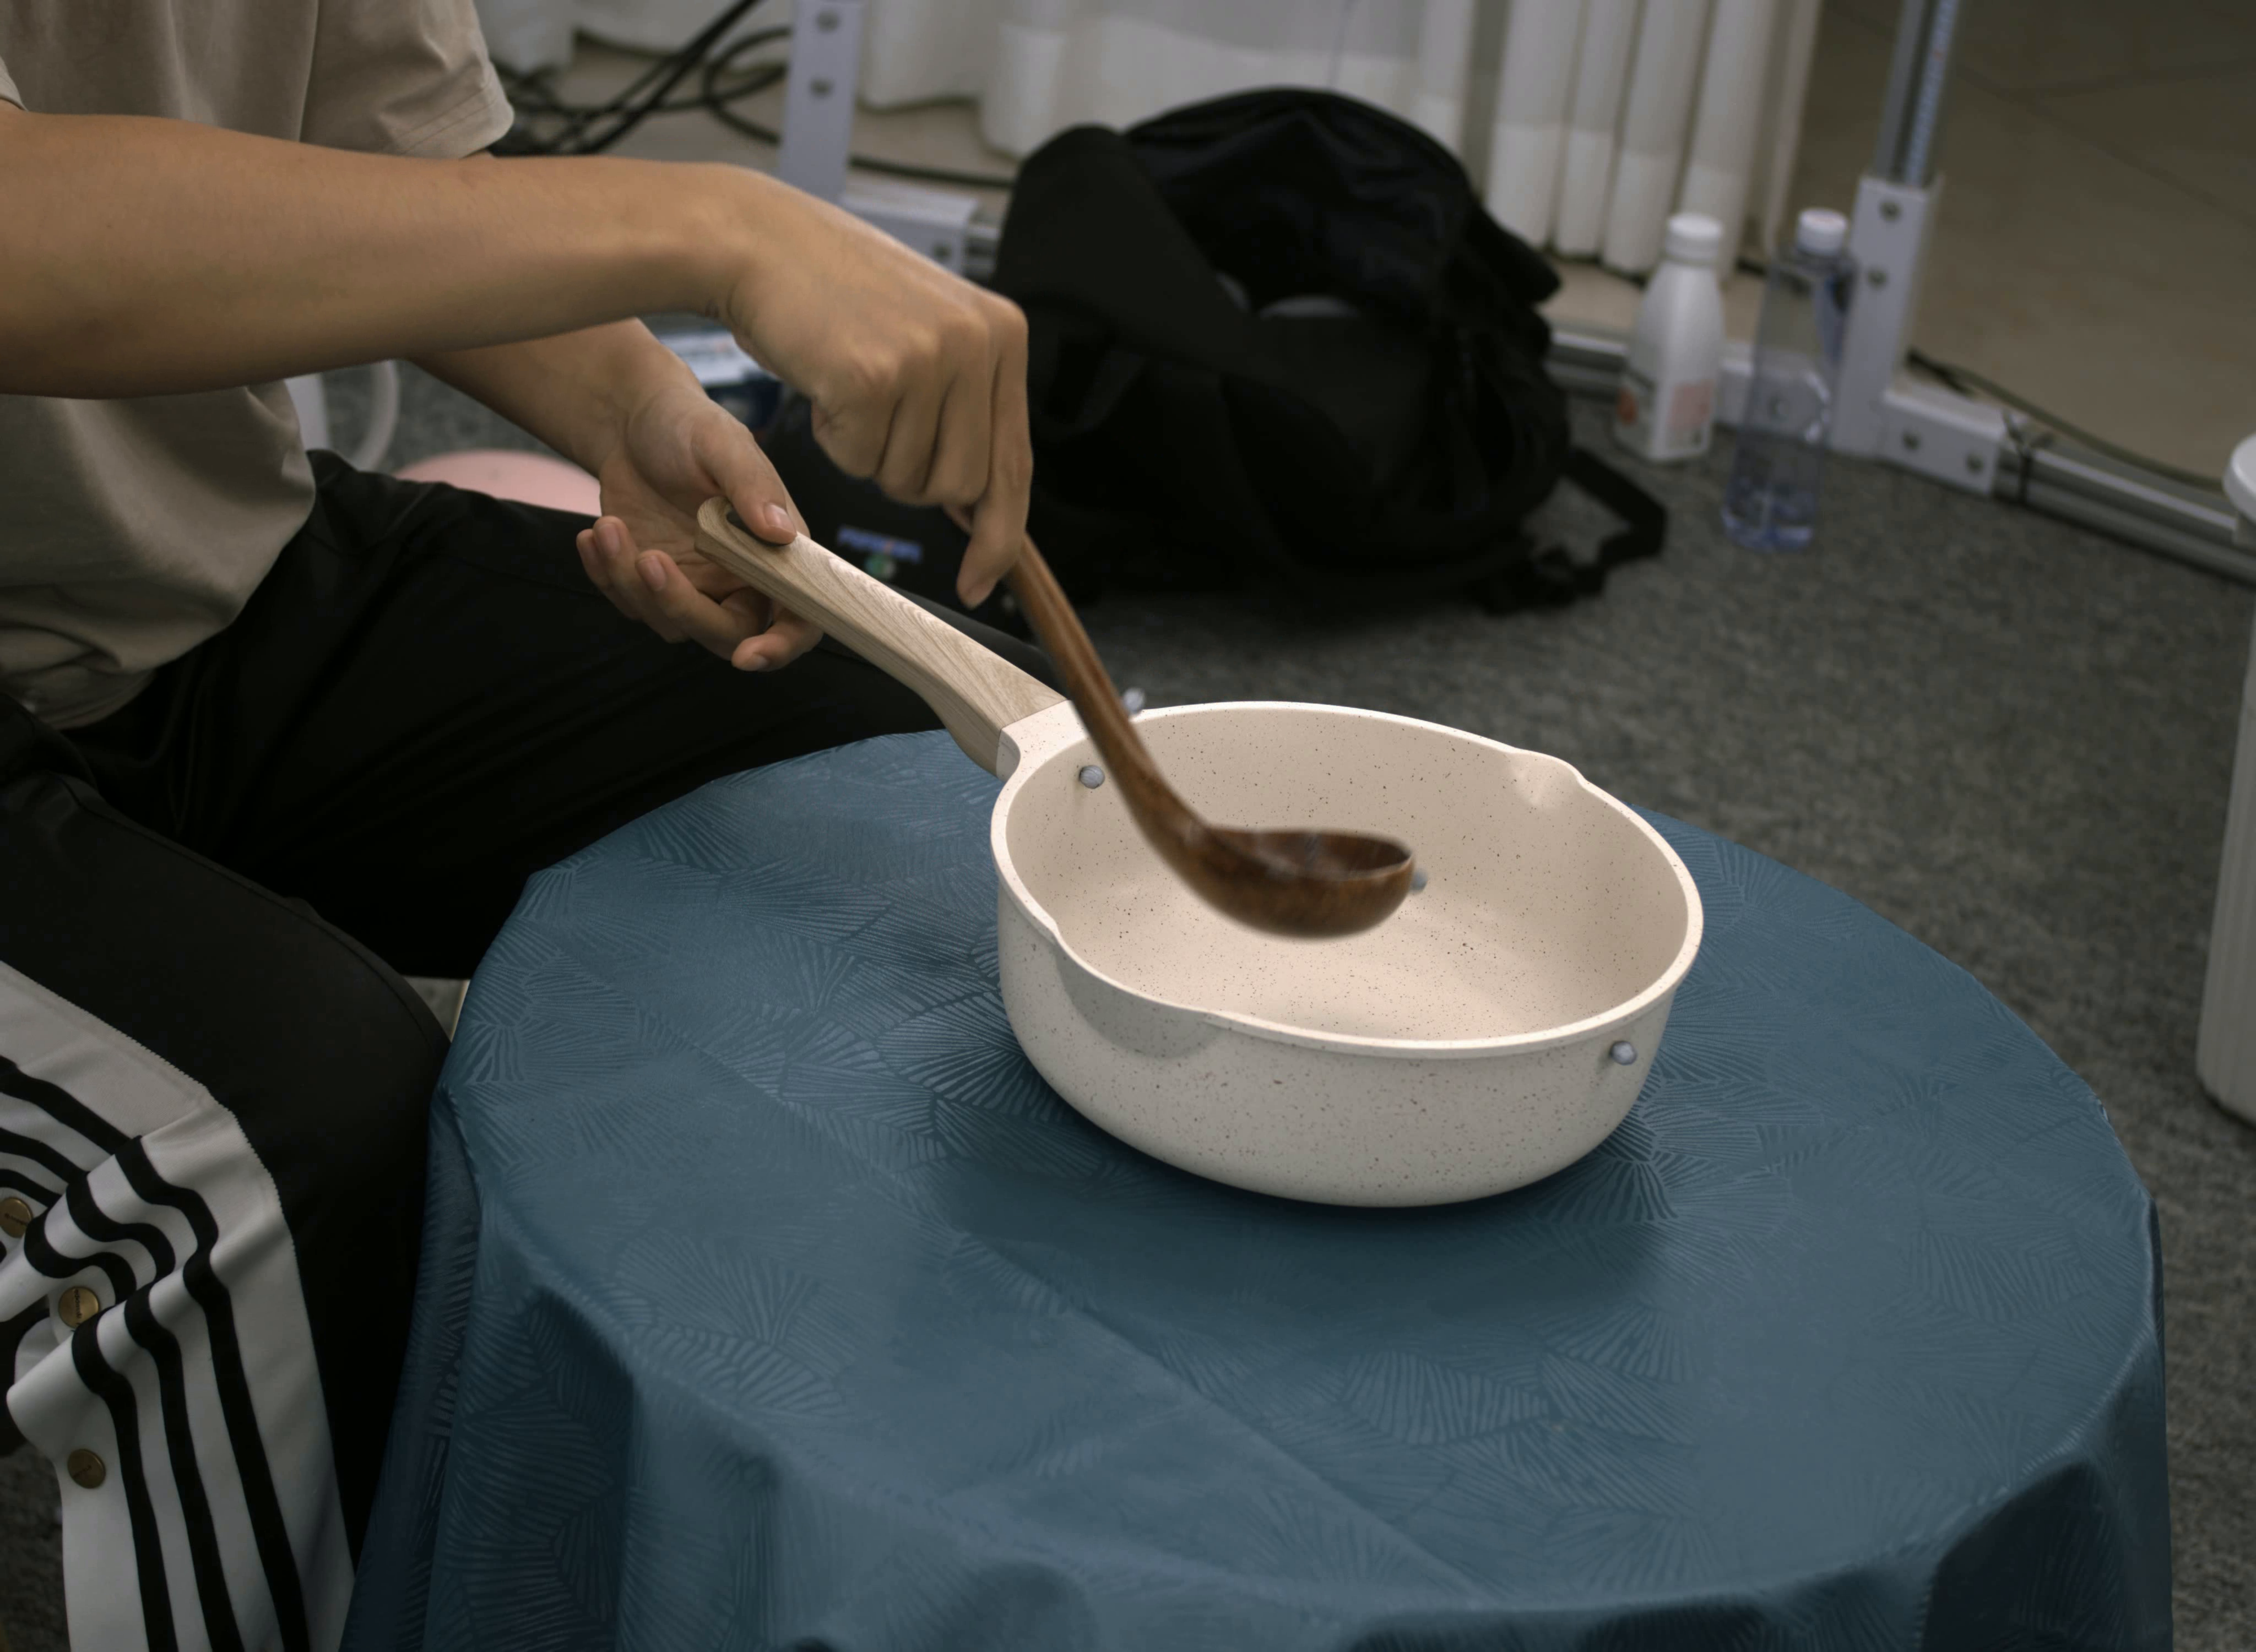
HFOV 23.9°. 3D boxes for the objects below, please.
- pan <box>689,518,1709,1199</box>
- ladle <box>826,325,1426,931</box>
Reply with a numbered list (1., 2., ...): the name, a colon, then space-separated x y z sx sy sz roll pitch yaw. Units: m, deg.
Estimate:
1. pan: 0.005 0.006 1.927 0.438 0.101 0.262 25 34 32
2. ladle: 0.005 -0.072 1.781 0.076 0.273 0.082 -37 17 -13
